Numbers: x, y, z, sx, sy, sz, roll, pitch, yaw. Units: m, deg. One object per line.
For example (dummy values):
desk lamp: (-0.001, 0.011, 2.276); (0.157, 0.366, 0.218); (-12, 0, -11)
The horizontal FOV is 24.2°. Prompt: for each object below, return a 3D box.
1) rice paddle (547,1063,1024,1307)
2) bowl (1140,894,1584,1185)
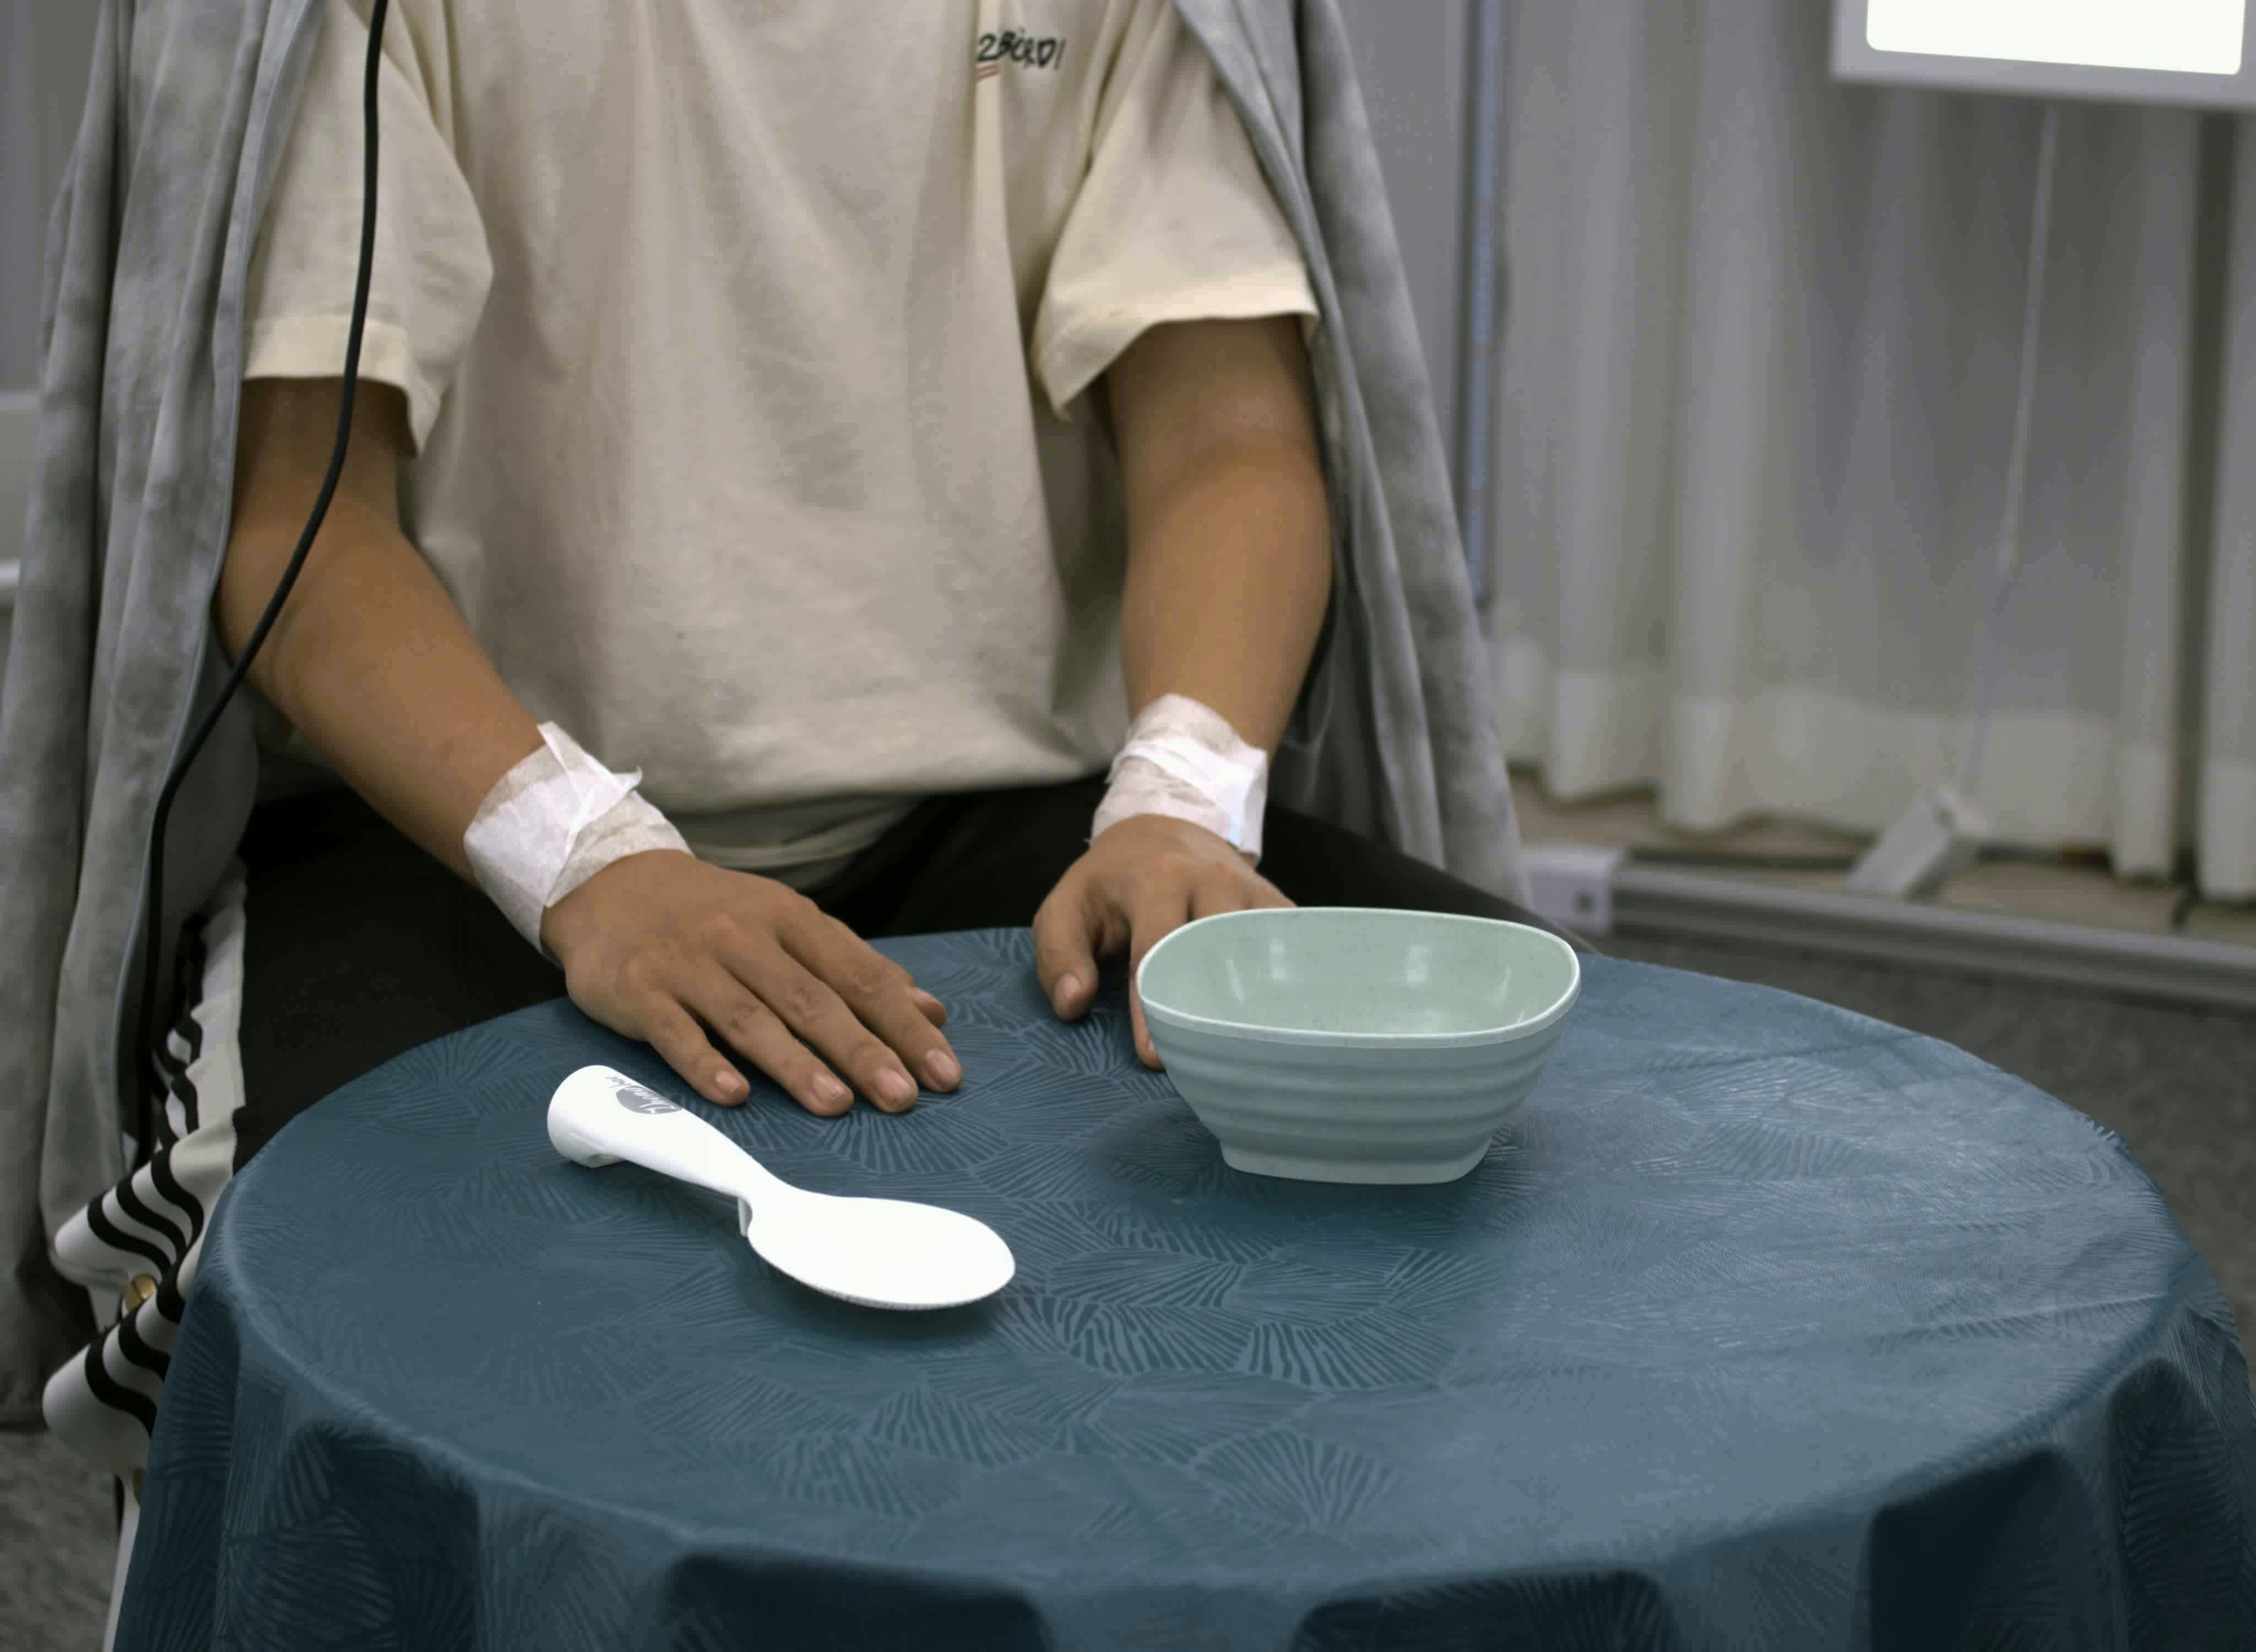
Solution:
rice paddle: (-0.105, 0.109, 1.575); (0.069, 0.029, 0.202); (-14, 21, -37)
bowl: (0.075, 0.071, 1.665); (0.151, 0.059, 0.150); (-2, 18, 1)
